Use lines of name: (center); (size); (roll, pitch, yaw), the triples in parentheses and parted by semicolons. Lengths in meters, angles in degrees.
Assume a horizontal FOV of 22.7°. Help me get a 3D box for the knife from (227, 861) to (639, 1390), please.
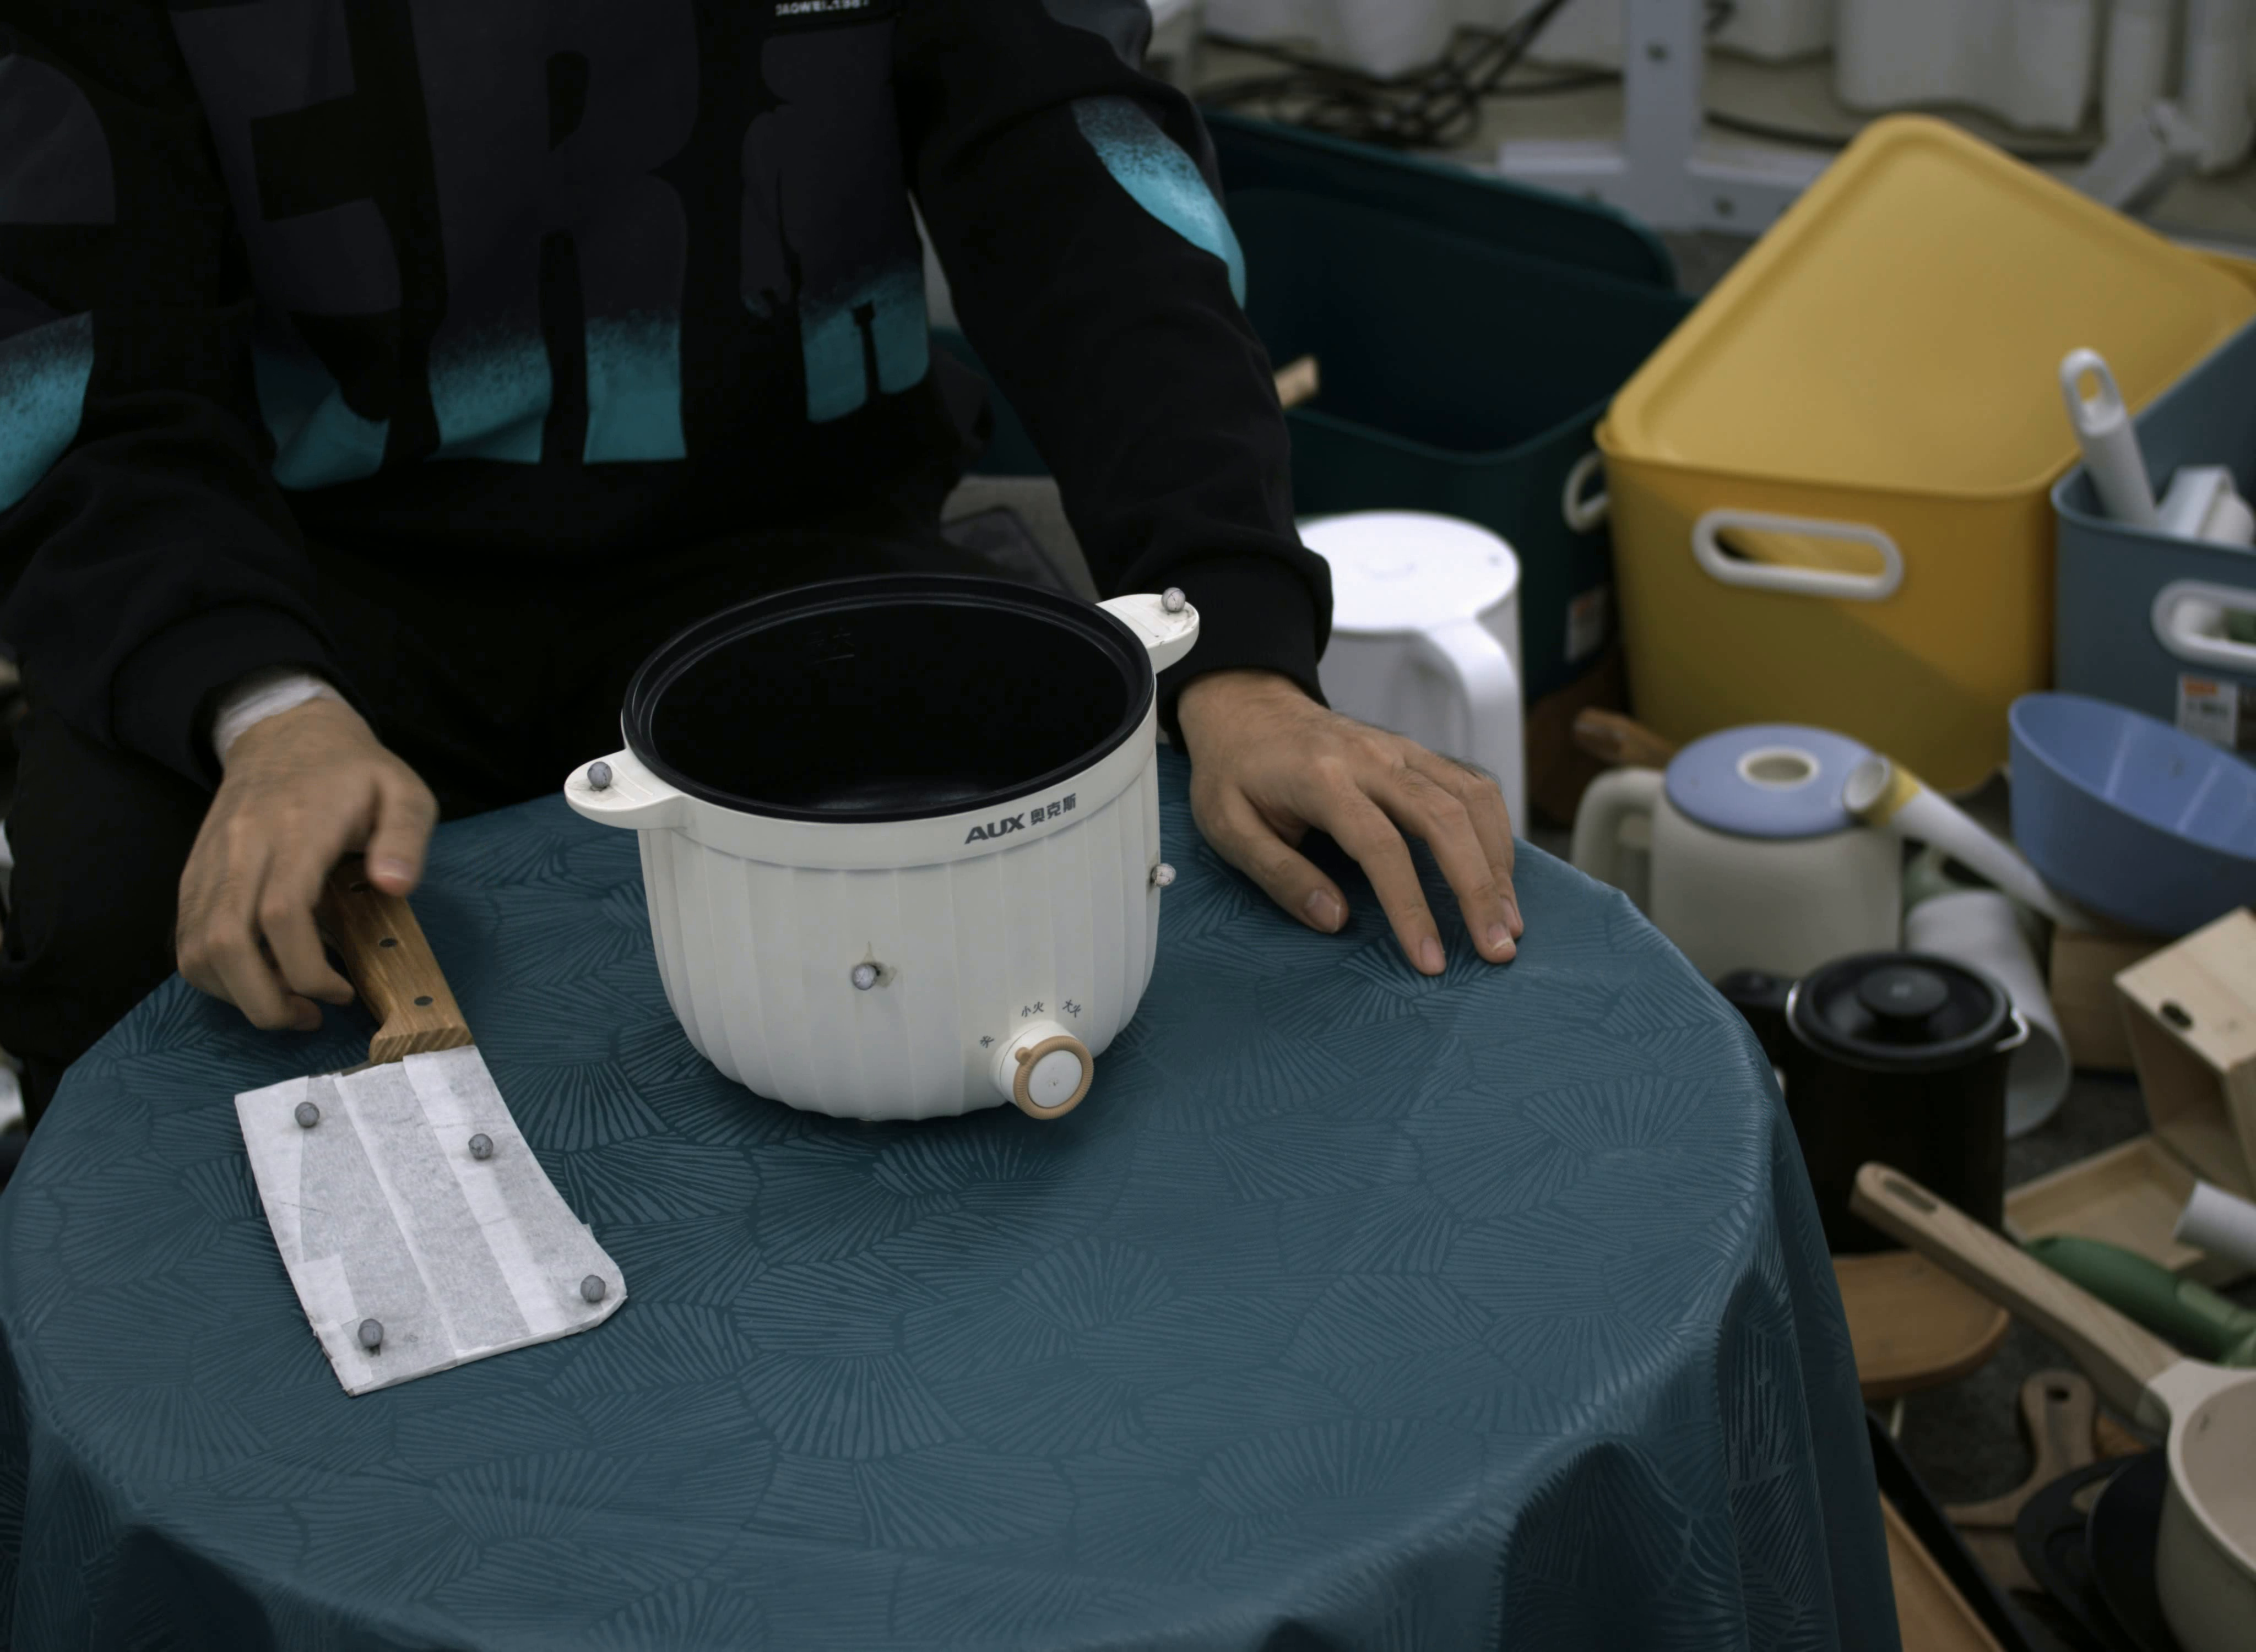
knife: (-0.248, 0.097, 1.914); (0.114, 0.021, 0.319); (-10, 31, -13)

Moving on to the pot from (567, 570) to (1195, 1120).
pot: (-0.074, 0.013, 1.930); (0.242, 0.141, 0.191); (-19, 28, -26)
